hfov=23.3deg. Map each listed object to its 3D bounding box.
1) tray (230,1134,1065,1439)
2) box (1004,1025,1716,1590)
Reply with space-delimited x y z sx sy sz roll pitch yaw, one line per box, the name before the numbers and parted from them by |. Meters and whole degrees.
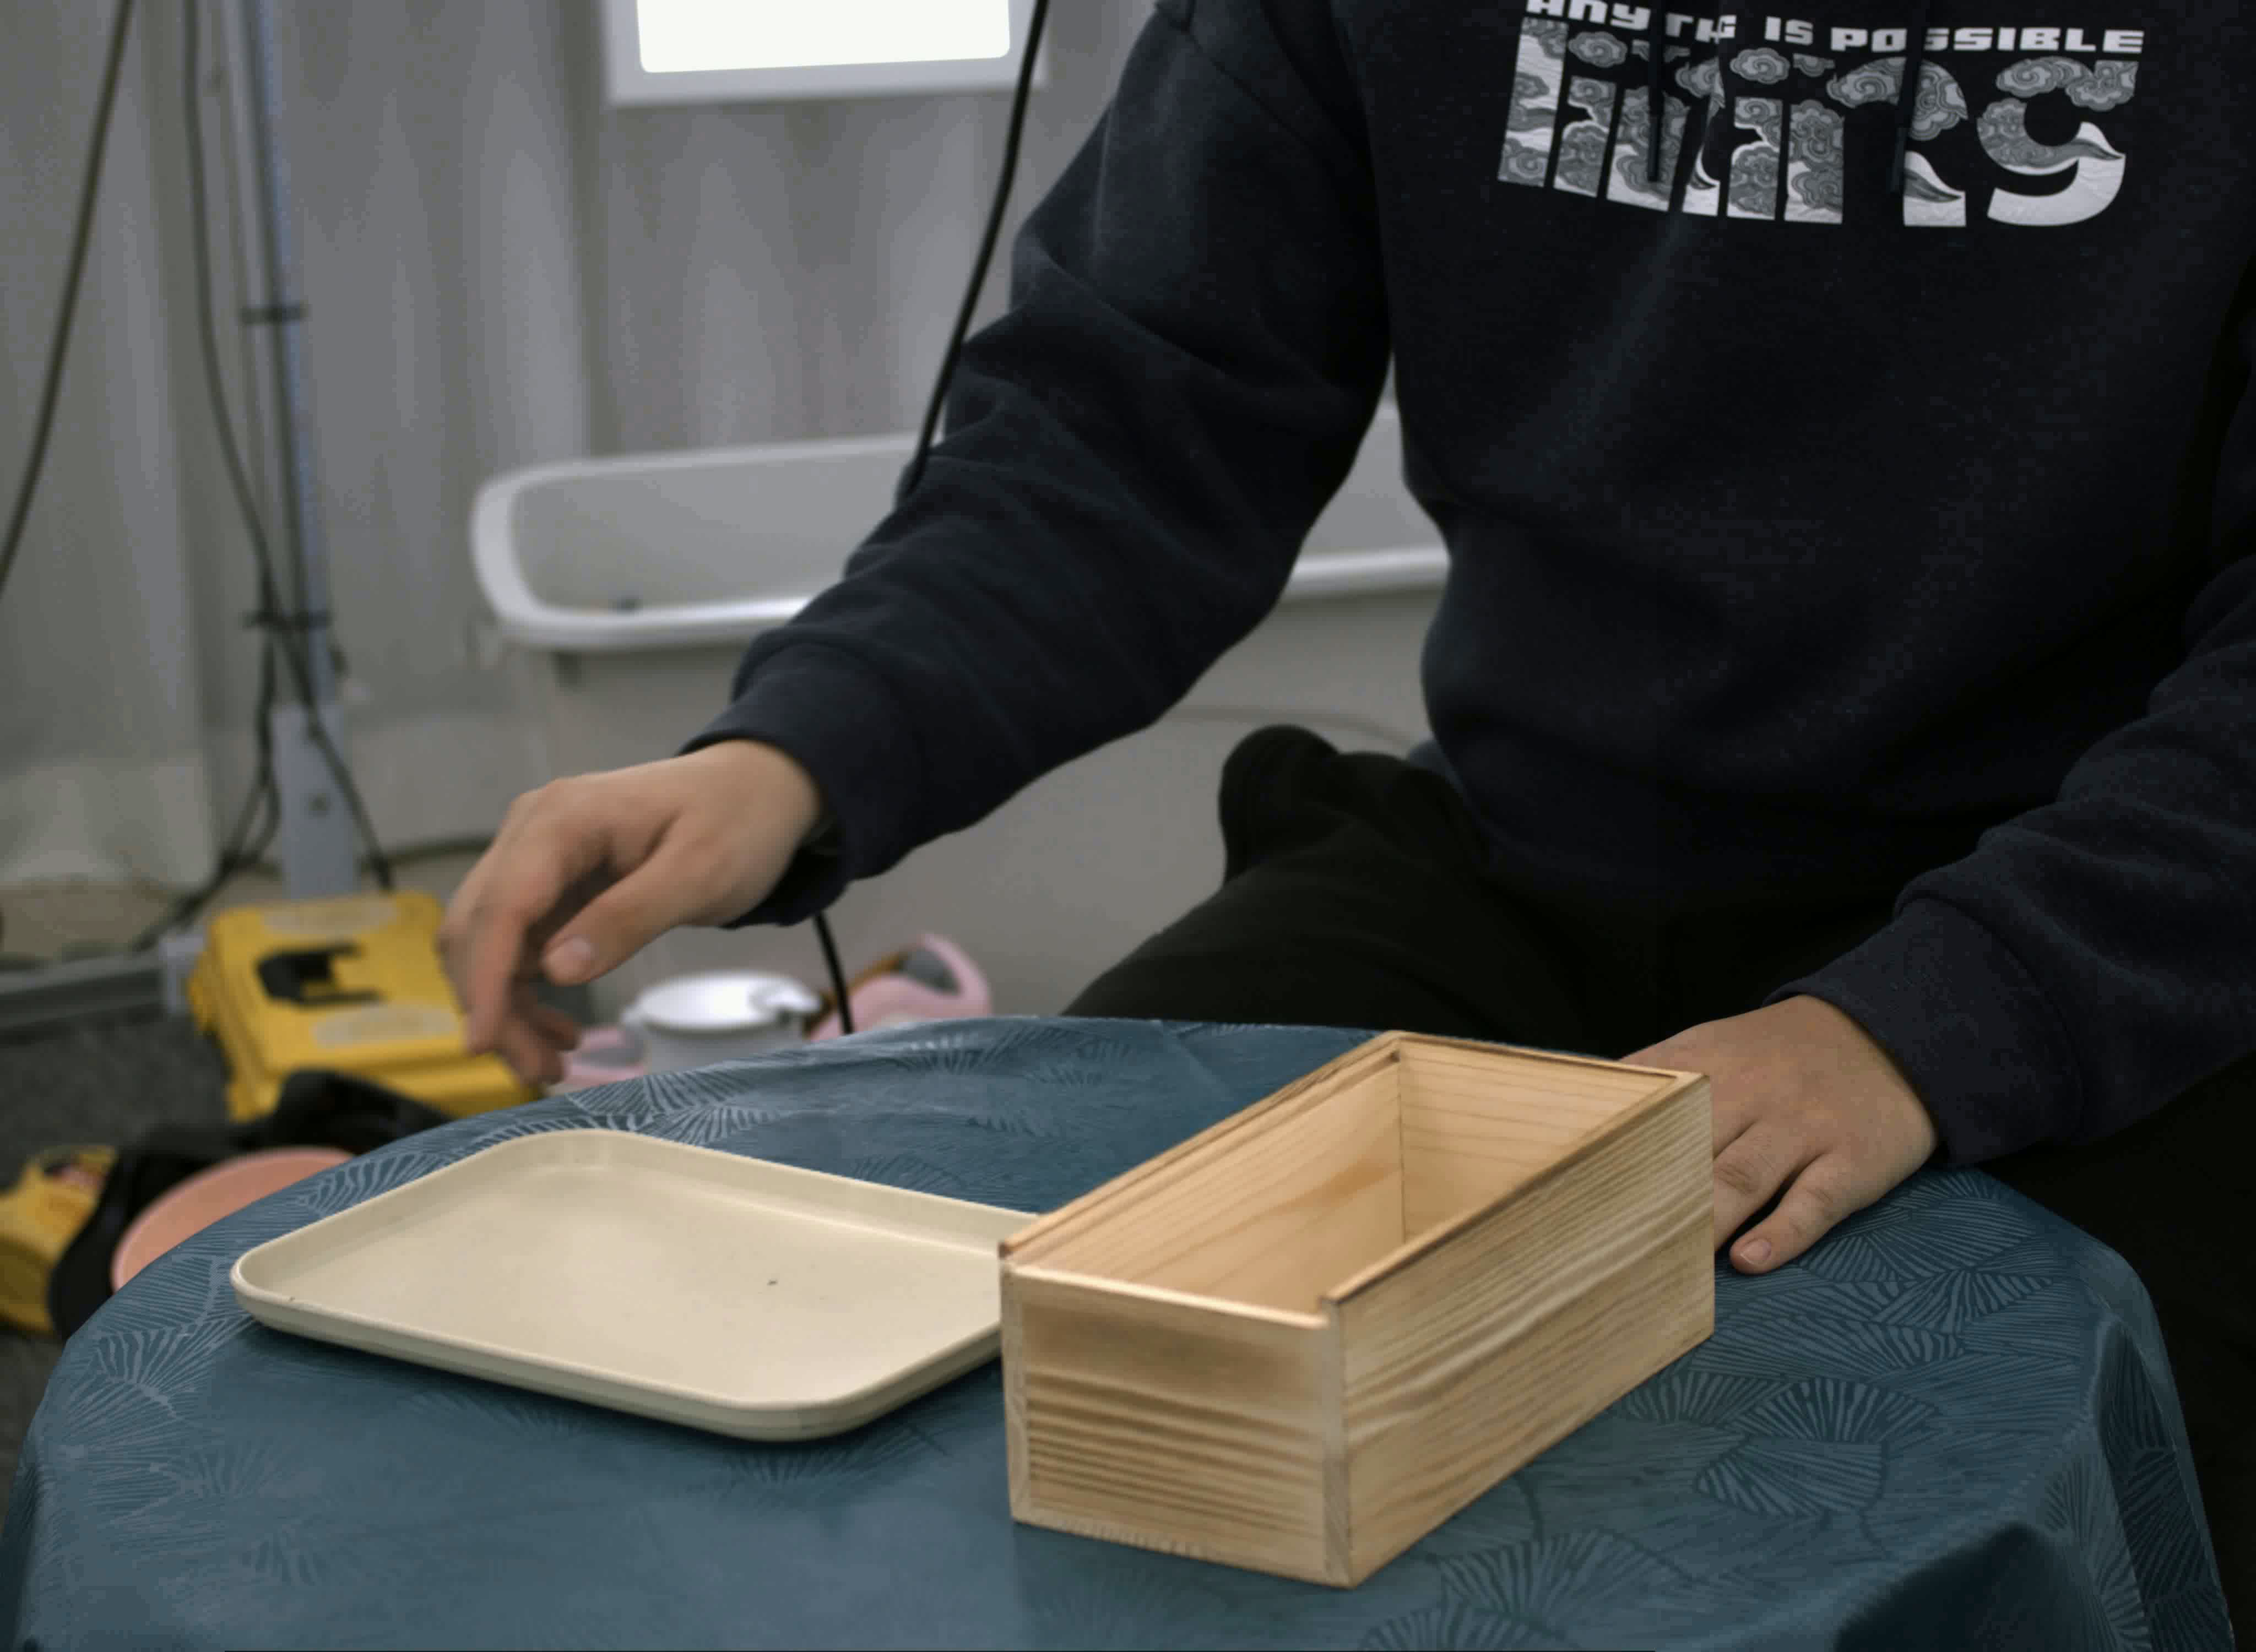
tray | -0.134 0.136 1.627 0.240 0.017 0.171 8 18 35
box | 0.068 0.127 1.503 0.108 0.080 0.211 7 17 31
